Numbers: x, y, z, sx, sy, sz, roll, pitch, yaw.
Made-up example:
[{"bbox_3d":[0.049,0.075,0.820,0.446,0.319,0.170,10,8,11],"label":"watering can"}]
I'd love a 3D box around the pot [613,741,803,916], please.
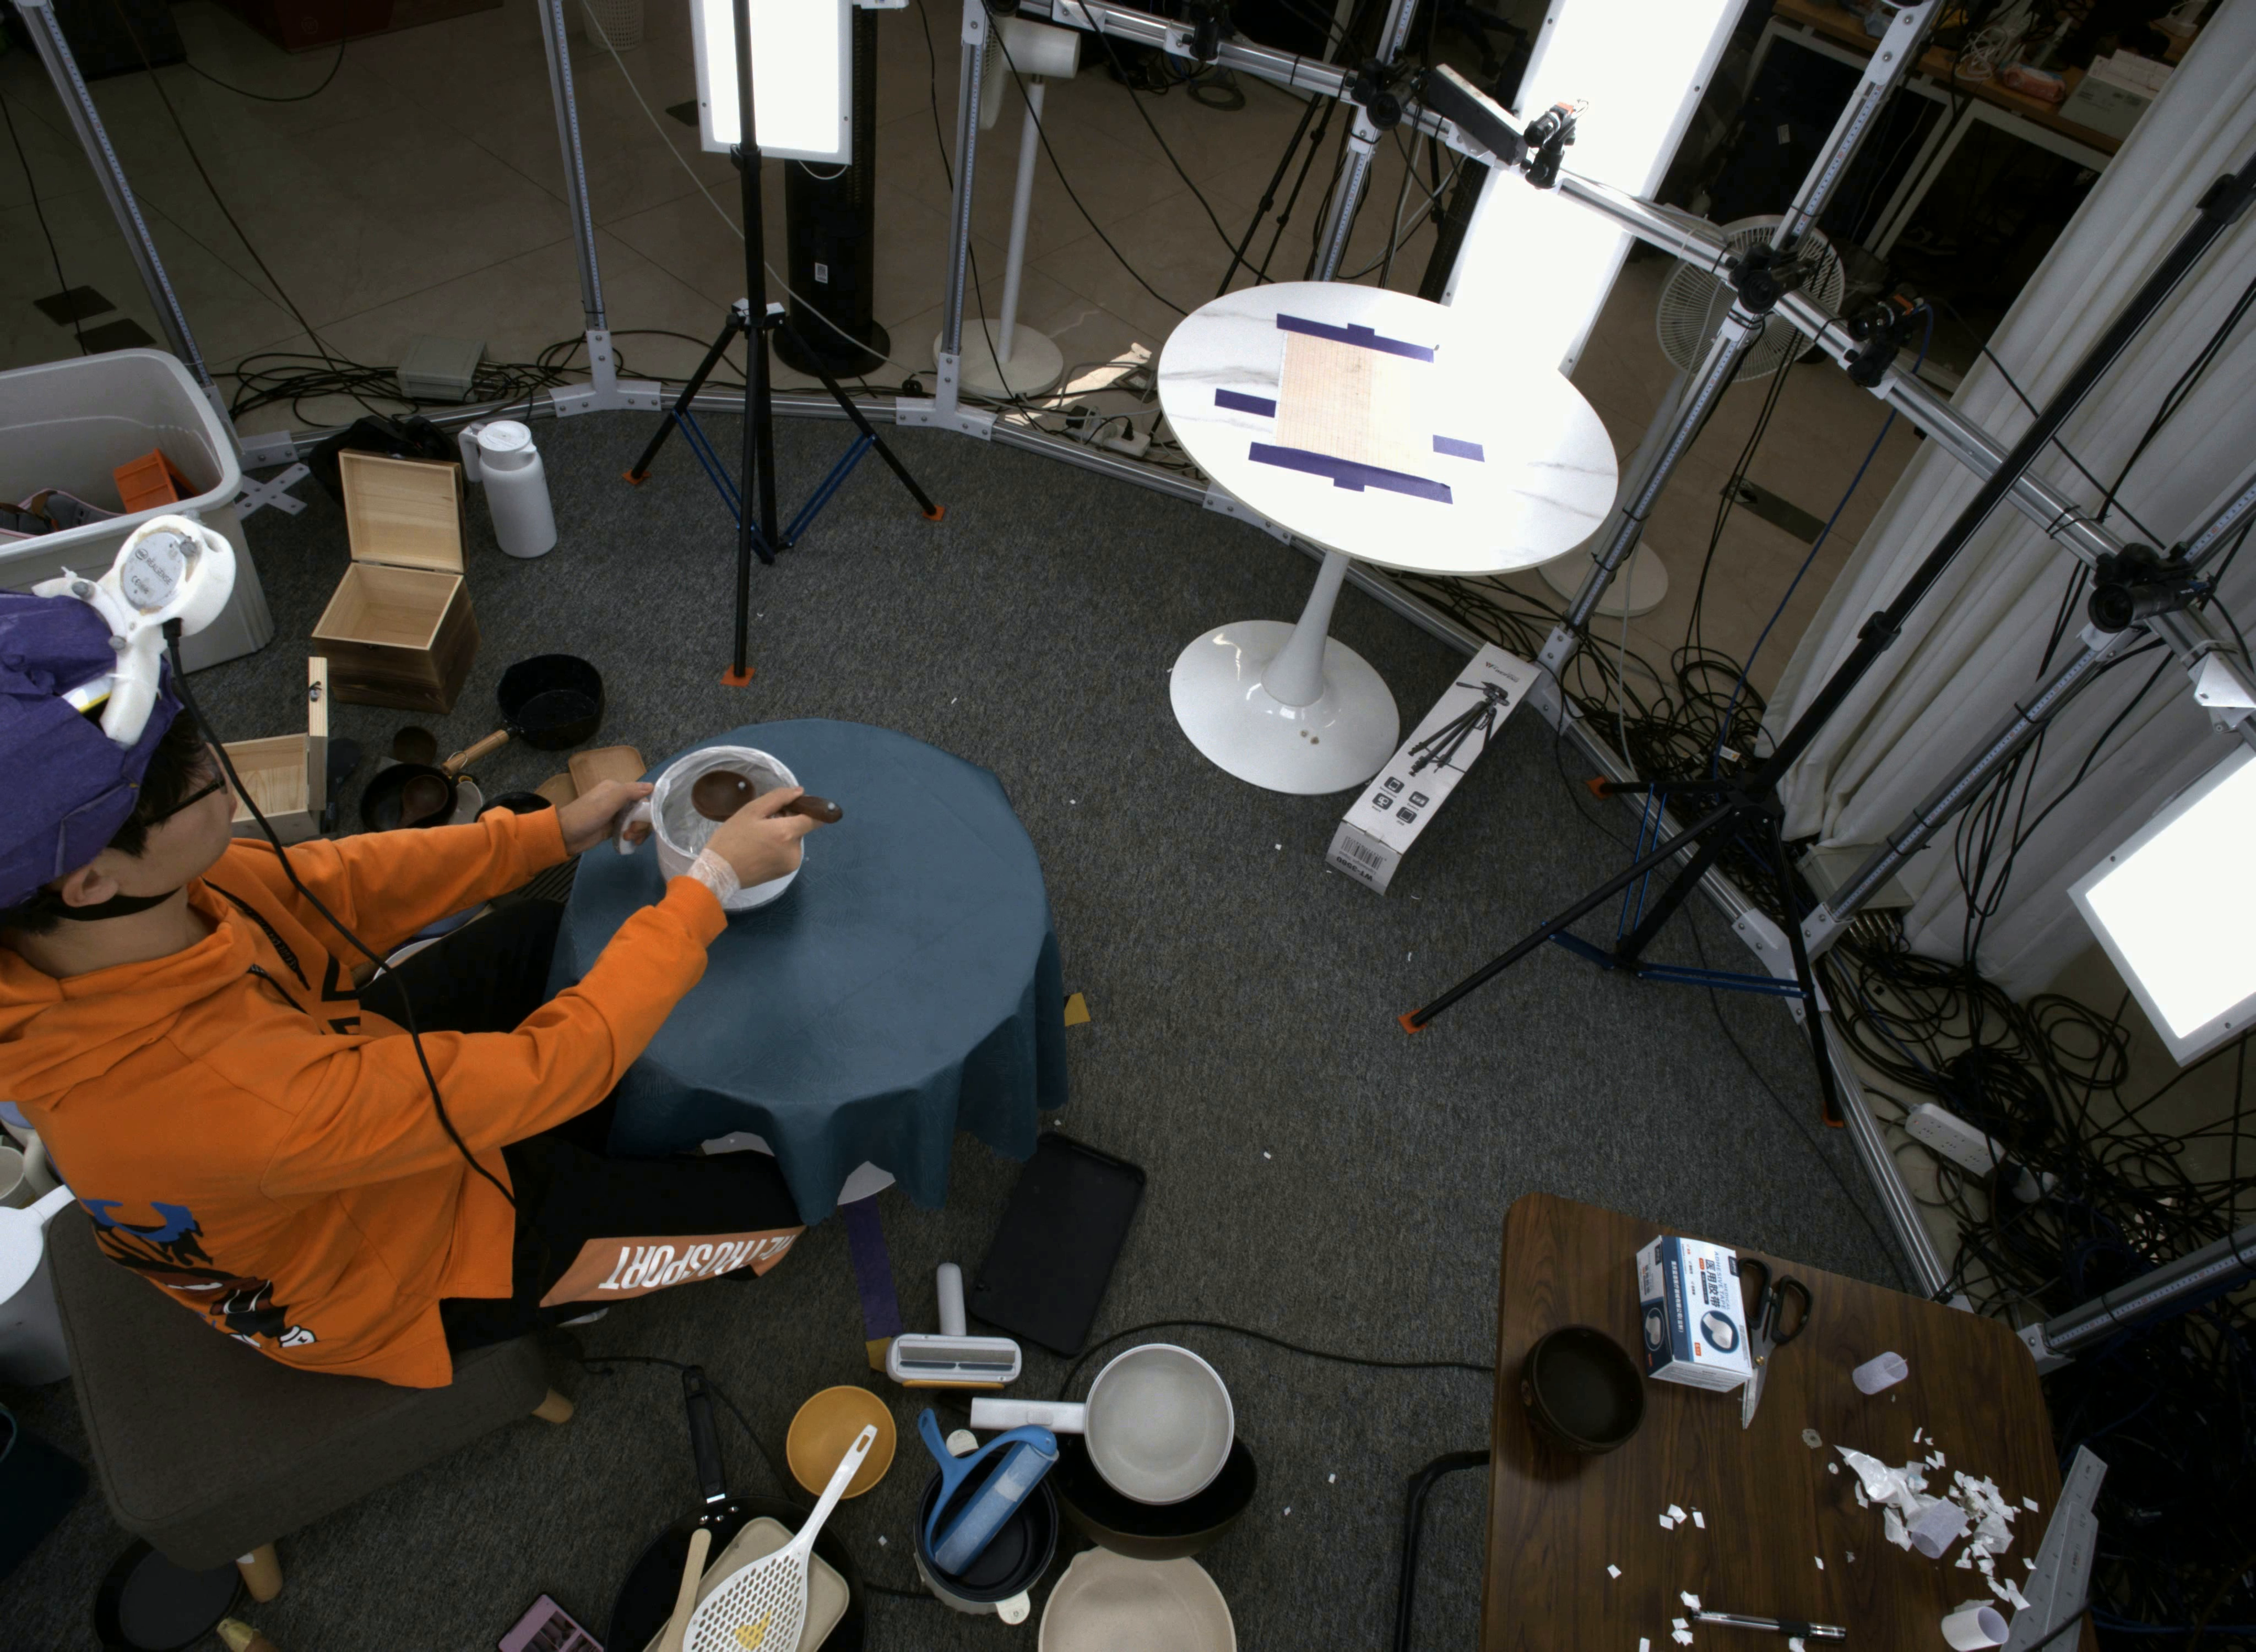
[{"bbox_3d":[-0.513,0.005,1.563,0.234,0.139,0.175,4,53,-11],"label":"pot"}]

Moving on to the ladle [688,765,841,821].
[{"bbox_3d":[-0.407,-0.040,1.442,0.252,0.067,0.076,-1,33,44],"label":"ladle"}]
